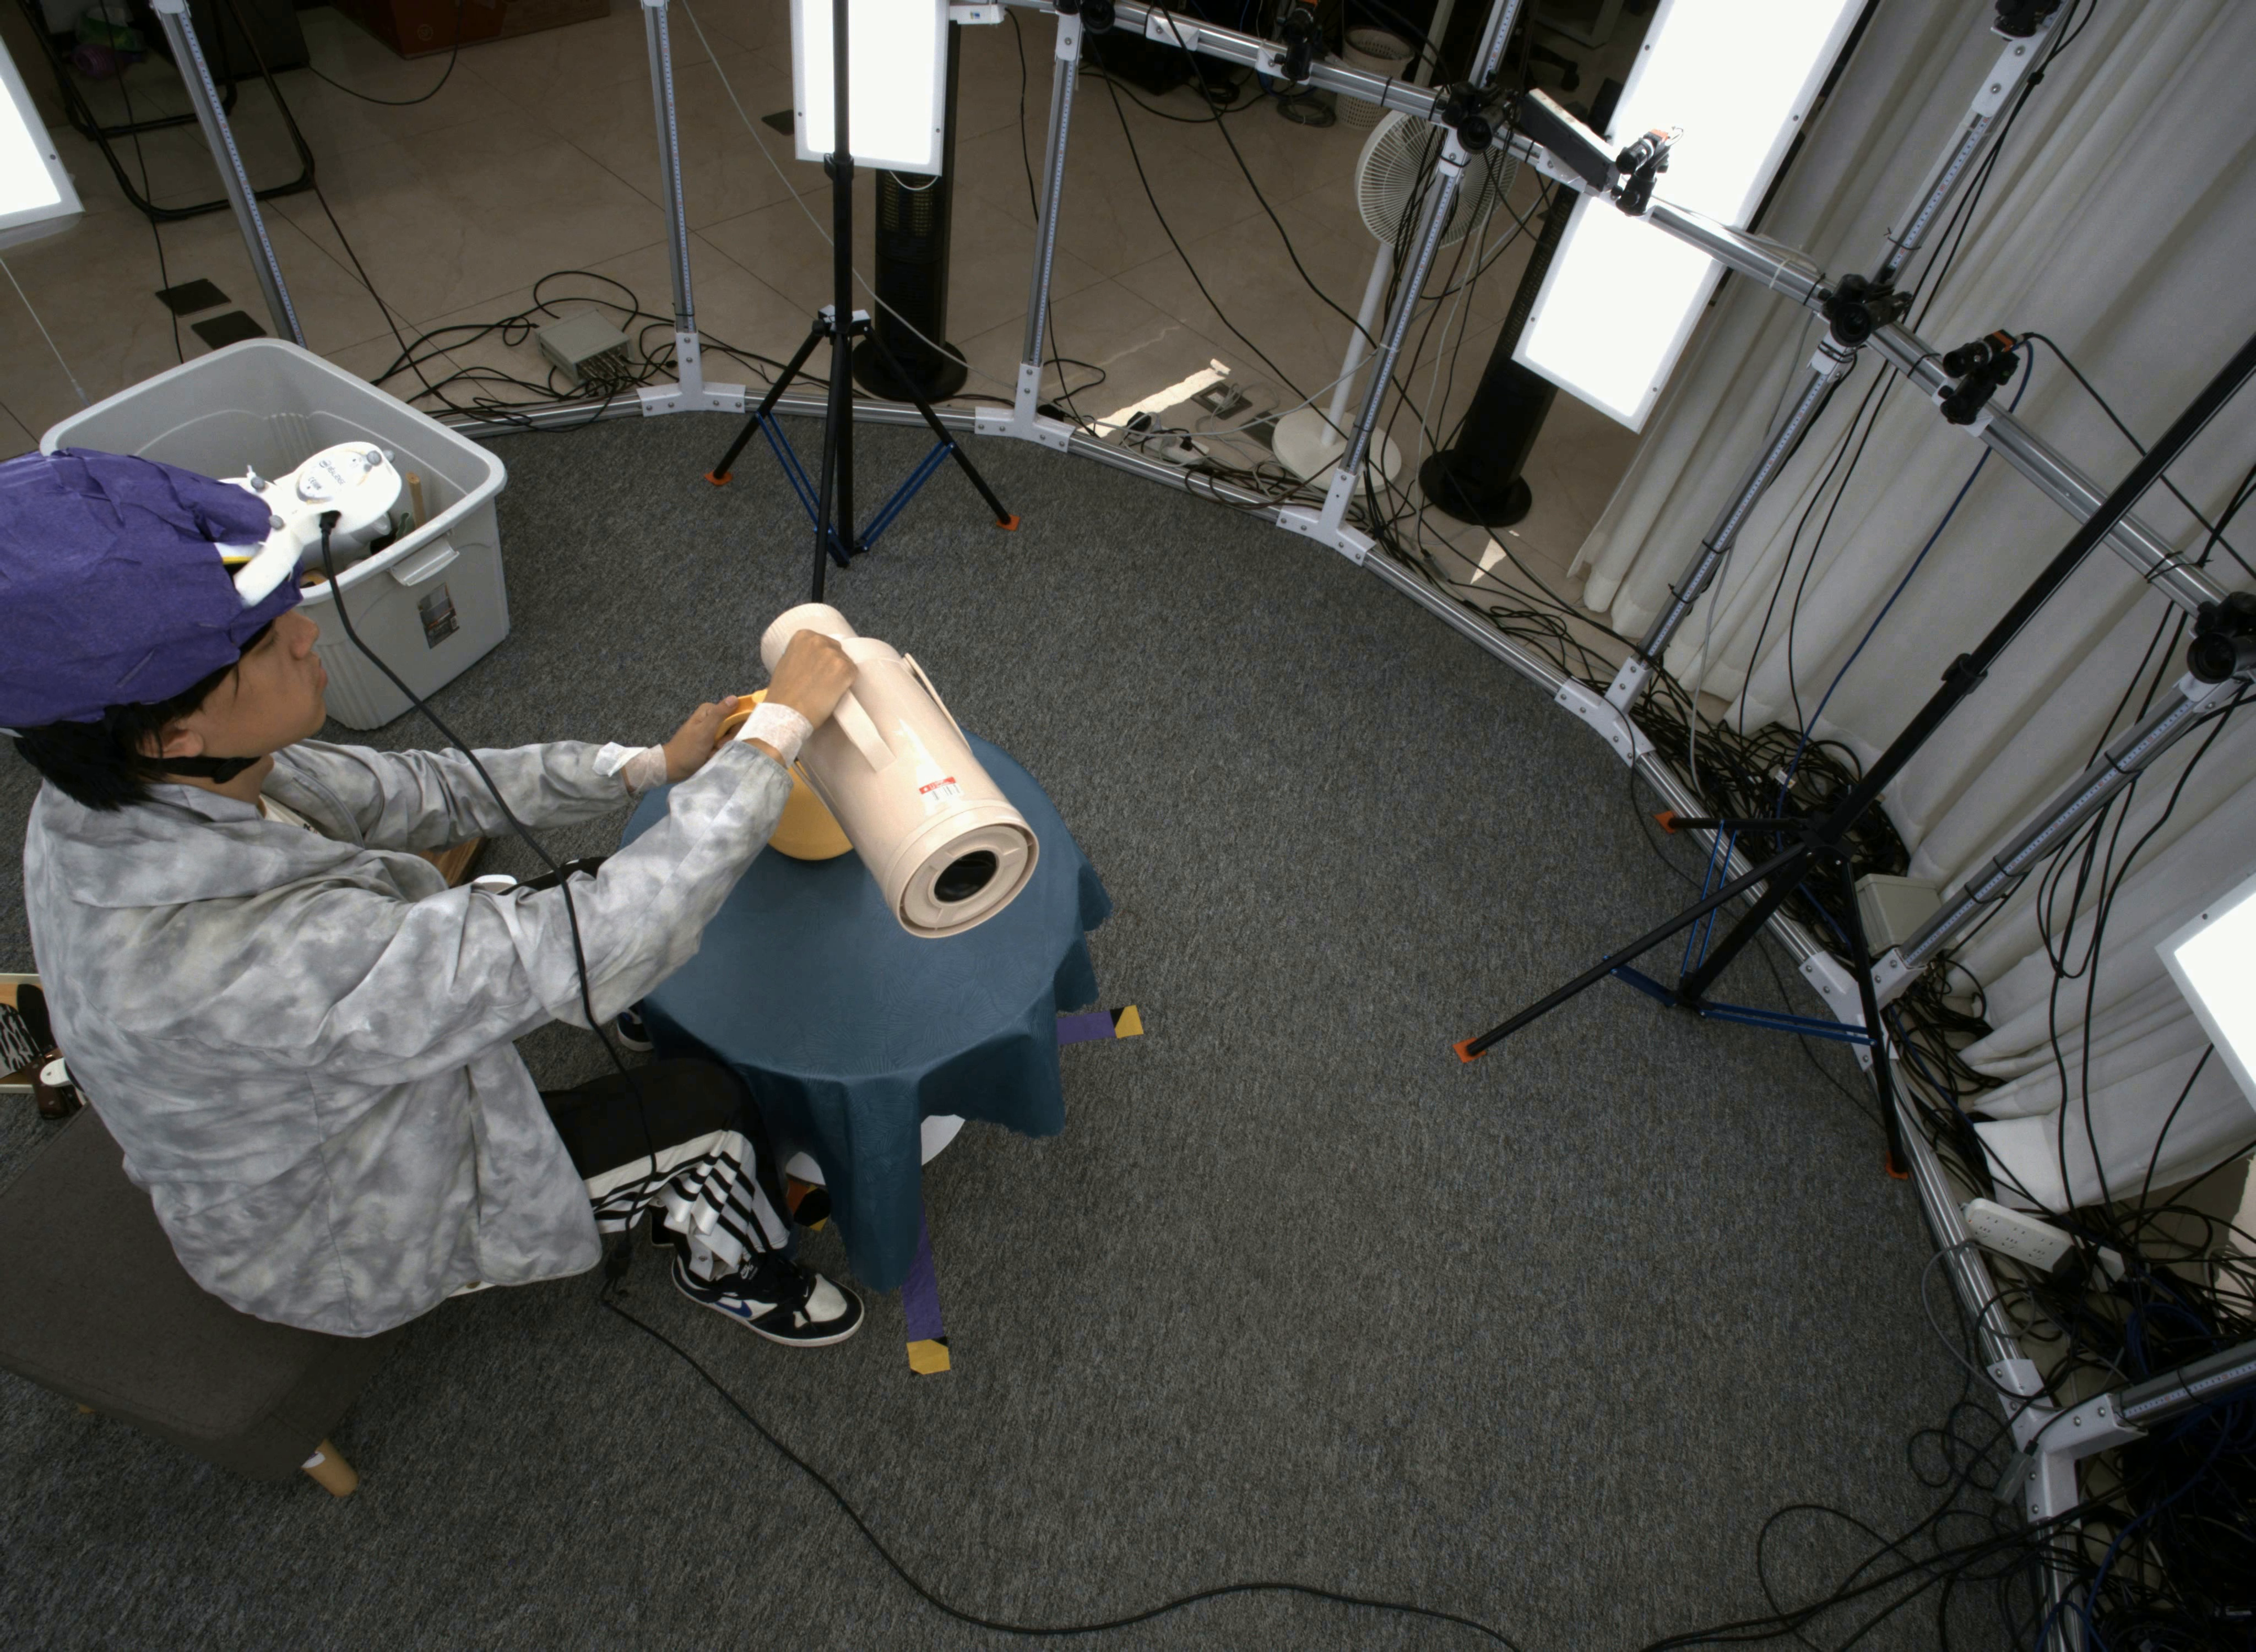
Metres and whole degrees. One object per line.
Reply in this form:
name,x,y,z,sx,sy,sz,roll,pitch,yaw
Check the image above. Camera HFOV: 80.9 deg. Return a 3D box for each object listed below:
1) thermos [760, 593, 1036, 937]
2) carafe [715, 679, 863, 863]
thermos,-0.265,-0.087,1.344,0.175,0.214,0.394,-35,61,-5
carafe,-0.411,-0.085,1.624,0.203,0.266,0.159,-6,52,-17
